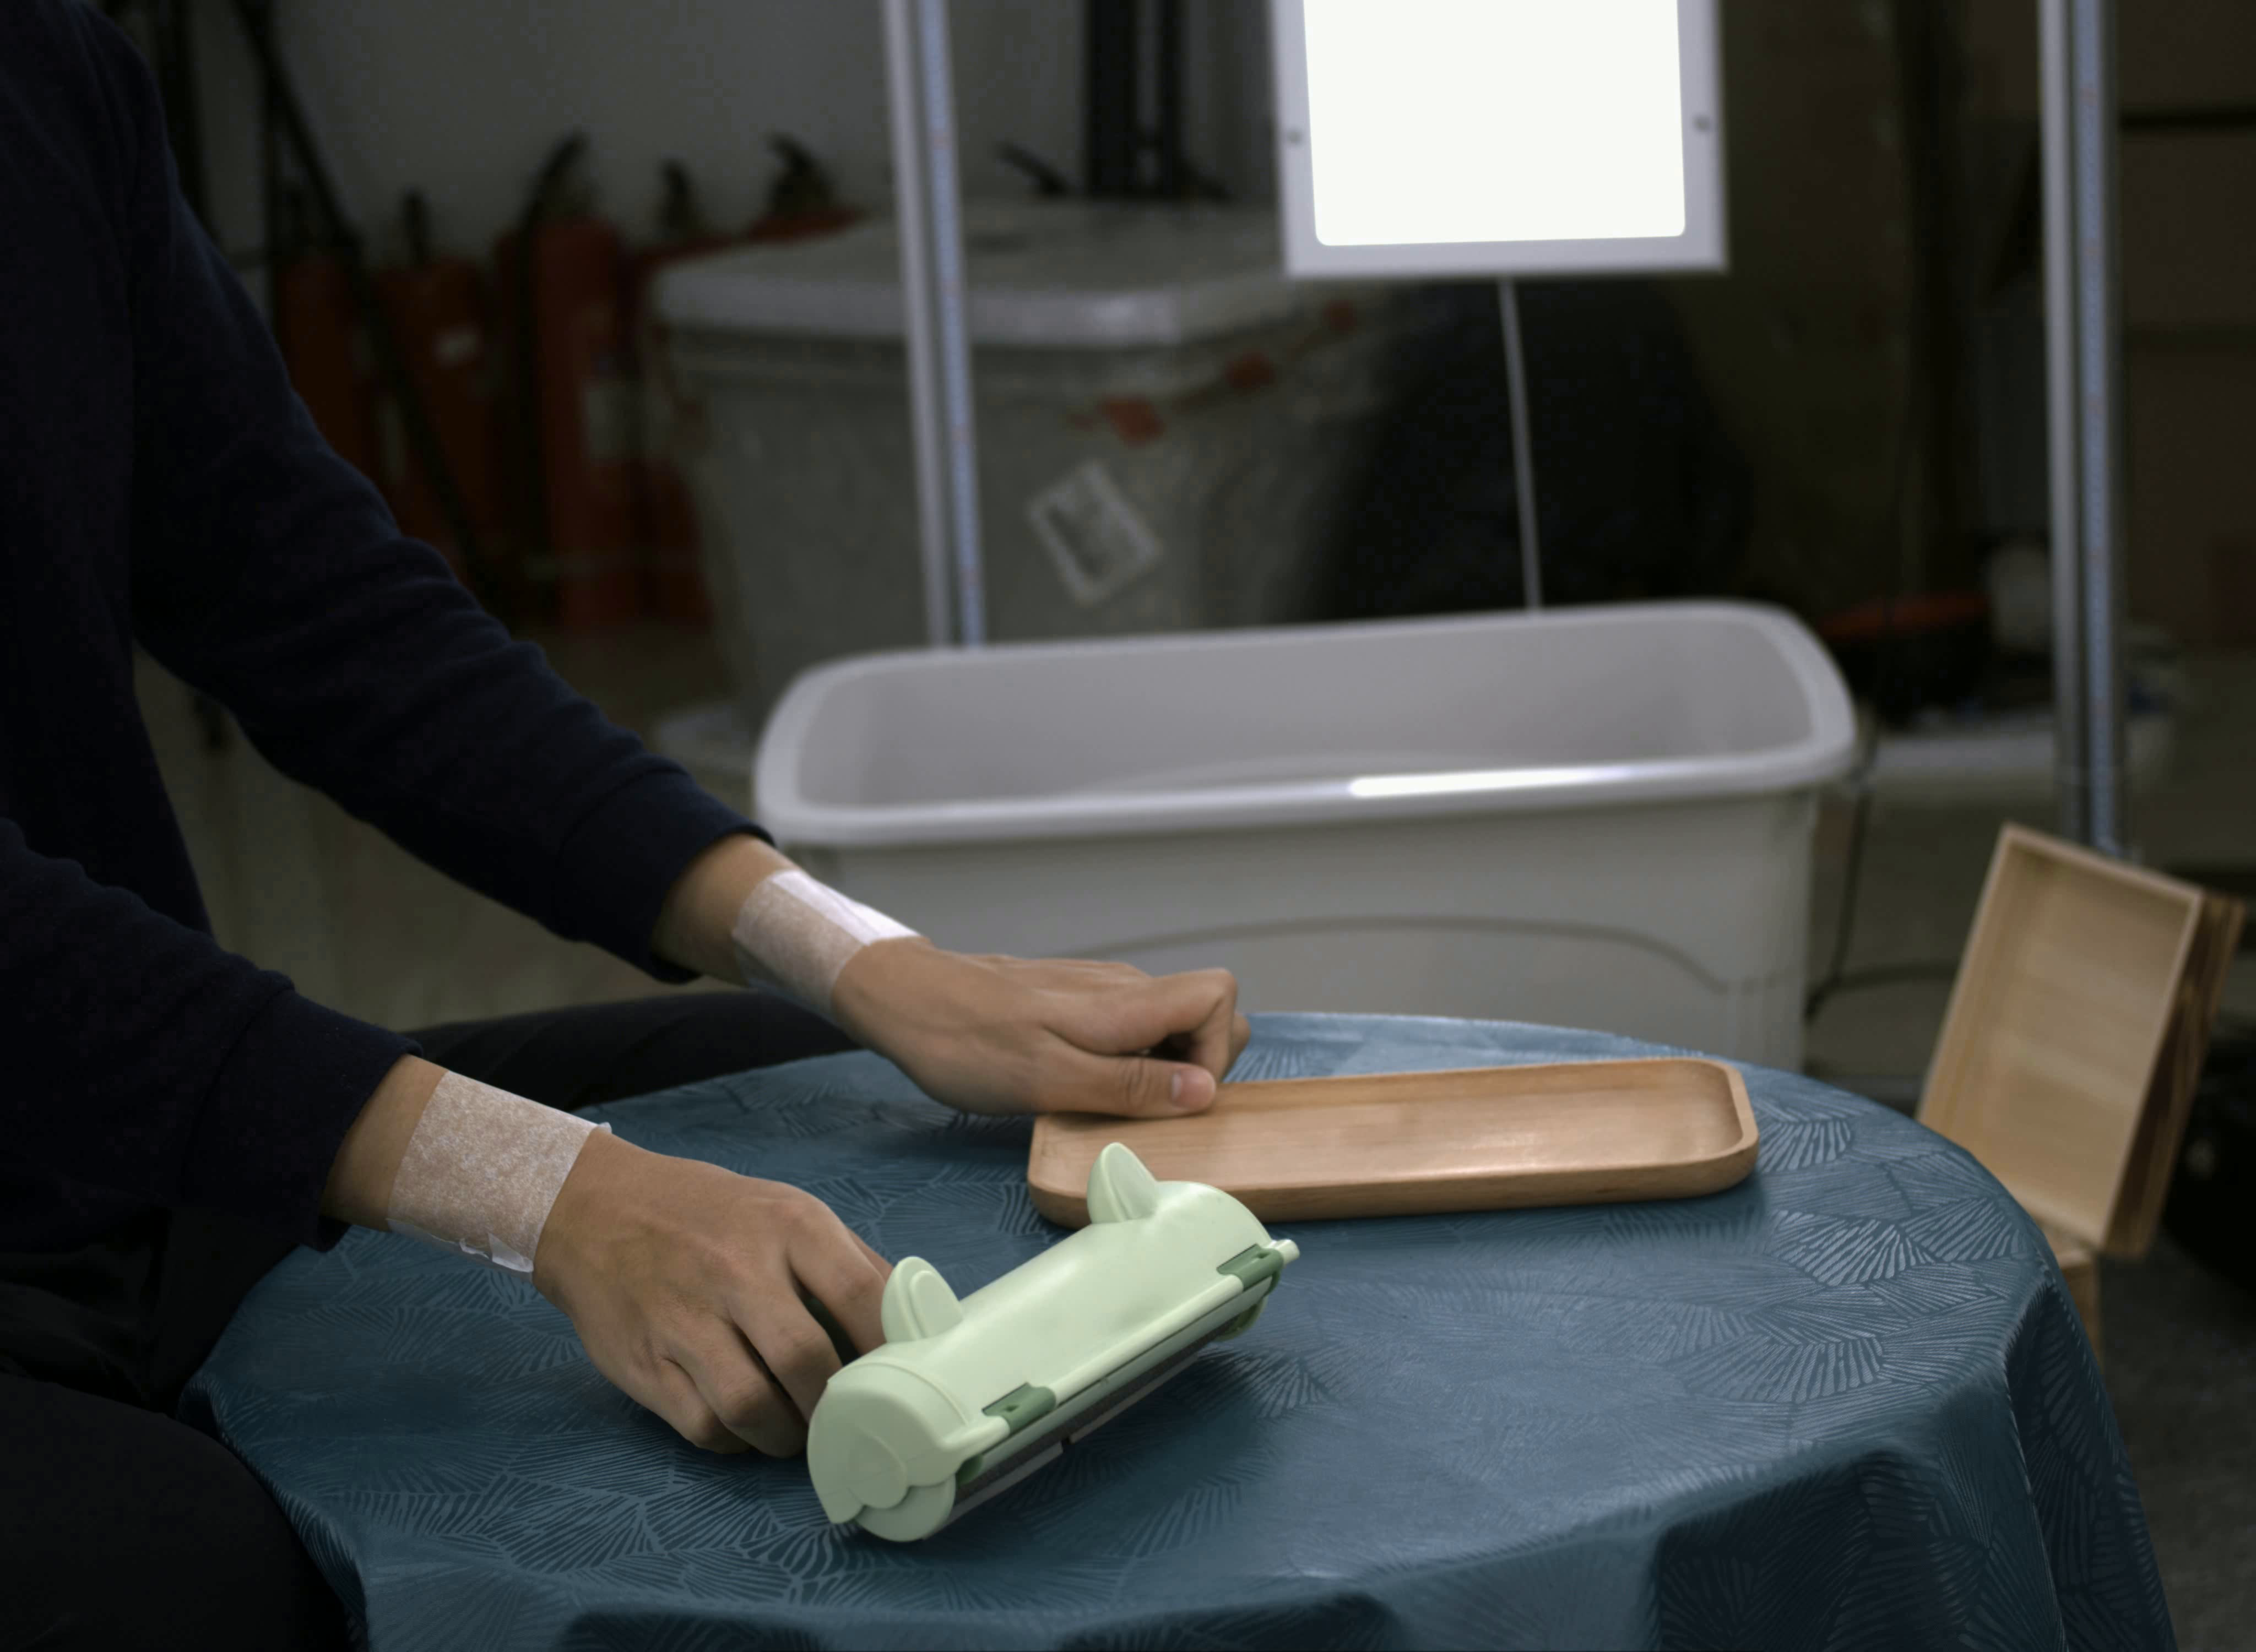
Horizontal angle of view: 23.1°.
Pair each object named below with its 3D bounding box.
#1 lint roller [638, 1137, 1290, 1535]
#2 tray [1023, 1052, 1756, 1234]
[{"bbox_3d":[-0.073,0.141,1.679,0.186,0.082,0.194,10,19,30],"label":"lint roller"},{"bbox_3d":[0.090,0.109,1.900,0.251,0.023,0.130,-5,12,5],"label":"tray"}]
